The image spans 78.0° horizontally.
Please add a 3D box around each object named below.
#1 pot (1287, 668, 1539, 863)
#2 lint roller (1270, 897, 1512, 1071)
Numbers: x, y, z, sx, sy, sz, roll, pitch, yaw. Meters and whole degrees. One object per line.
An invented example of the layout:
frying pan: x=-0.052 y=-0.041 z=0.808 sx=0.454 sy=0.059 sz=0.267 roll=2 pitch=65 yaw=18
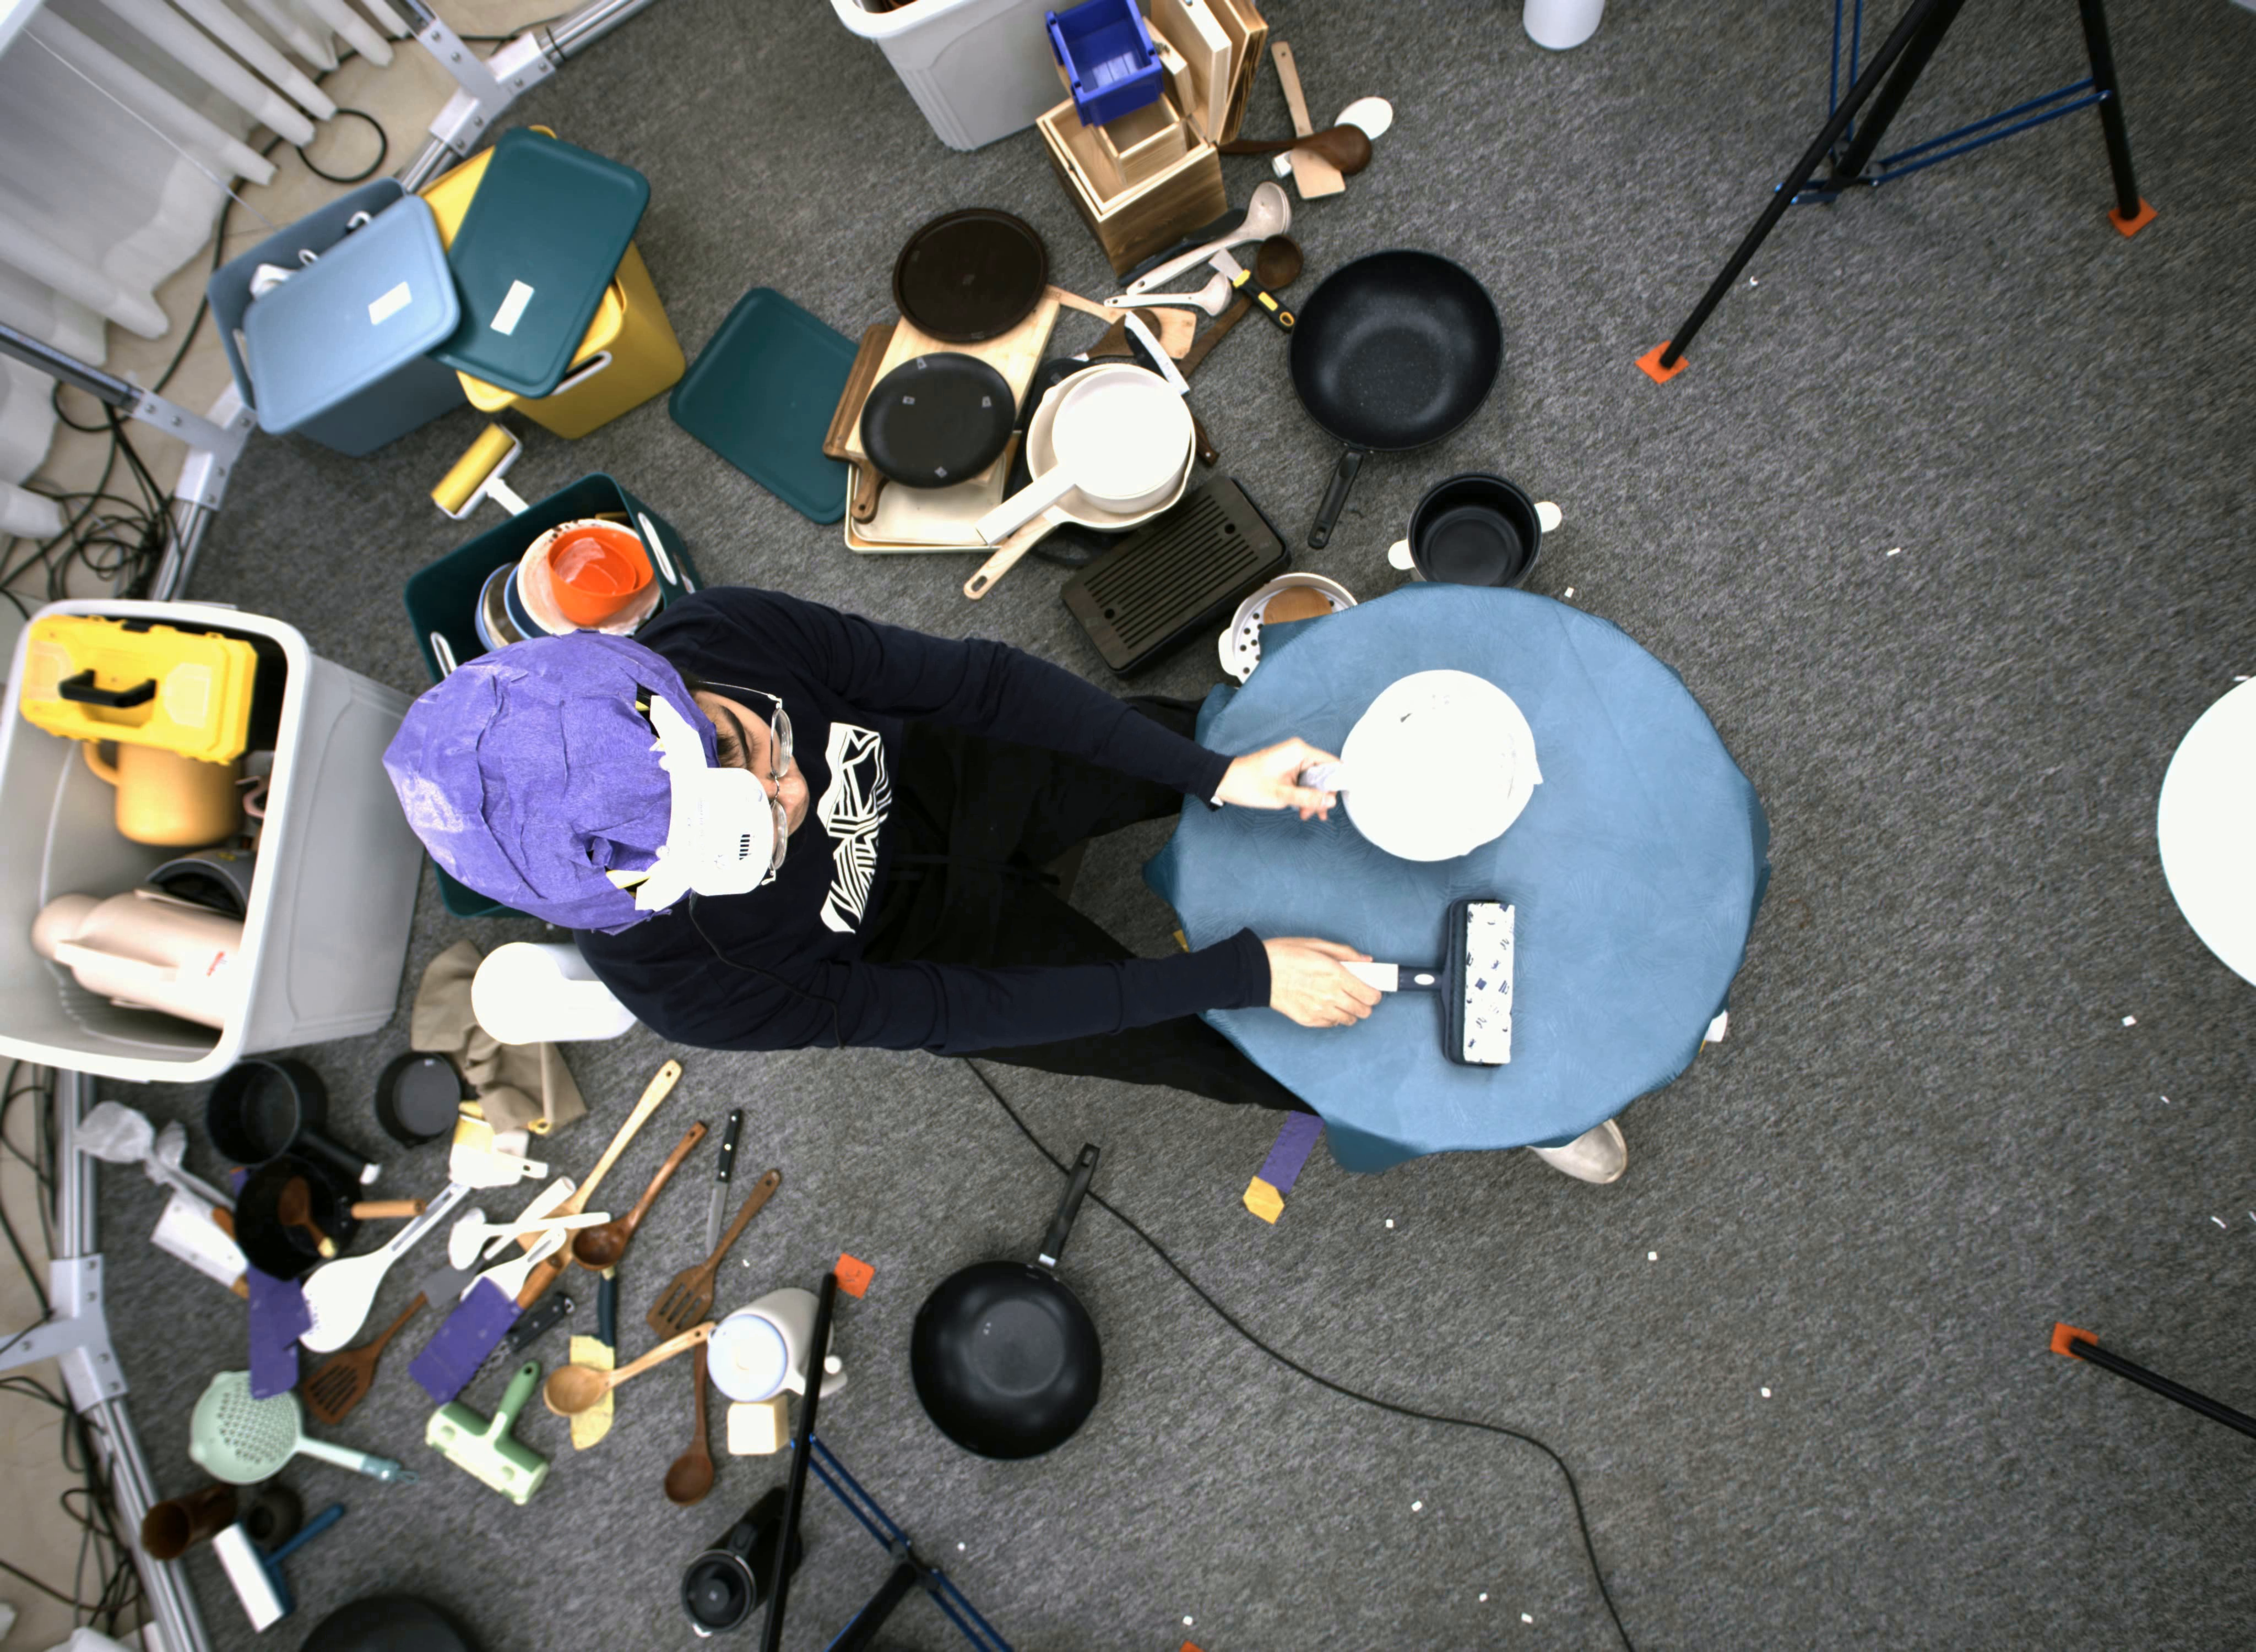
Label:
pot: x=0.279 y=-0.053 z=1.381 sx=0.234 sy=0.137 sz=0.177 roll=-9 pitch=81 yaw=0
lint roller: x=0.270 y=0.157 z=1.433 sx=0.248 sy=0.050 sz=0.176 roll=1 pitch=88 yaw=13
